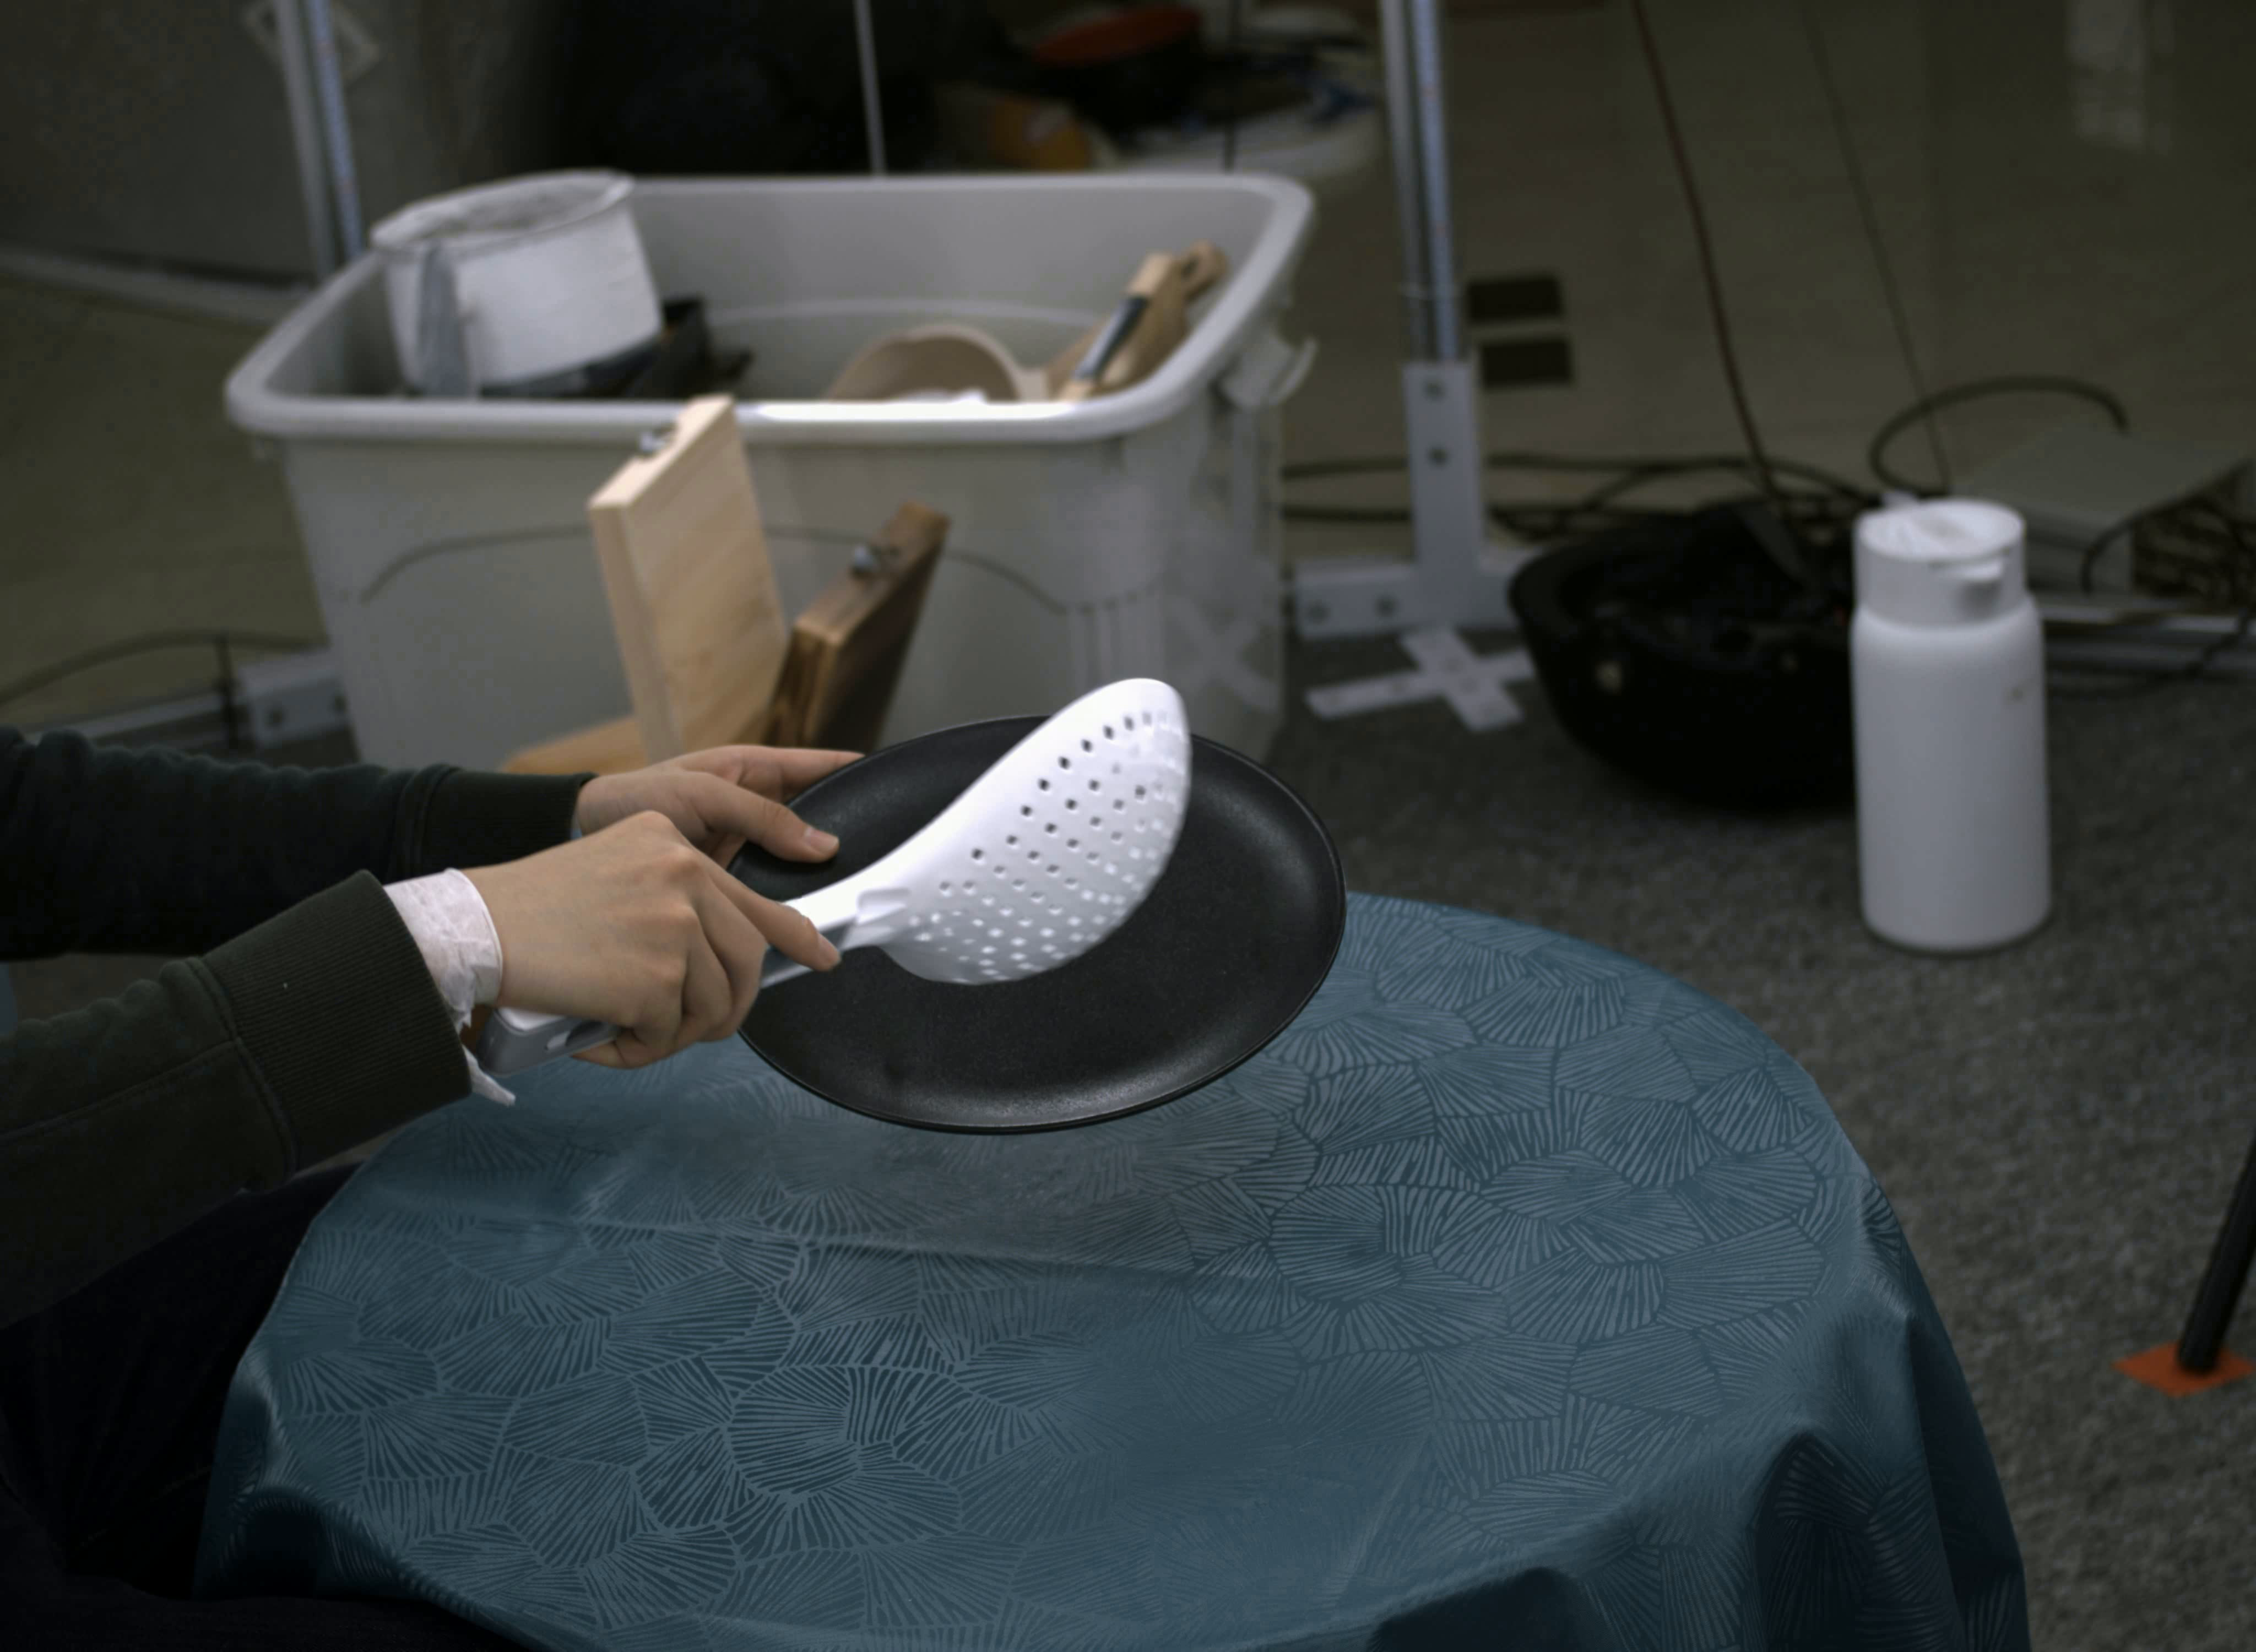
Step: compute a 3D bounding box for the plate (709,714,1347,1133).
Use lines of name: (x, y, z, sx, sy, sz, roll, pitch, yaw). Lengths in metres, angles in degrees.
plate: (-0.038, 0.040, 2.142, 0.244, 0.024, 0.240, -3, 40, 3)

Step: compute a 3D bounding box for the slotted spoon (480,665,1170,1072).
slotted spoon: (-0.095, 0.026, 1.938, 0.348, 0.138, 0.045, -15, 50, -47)
